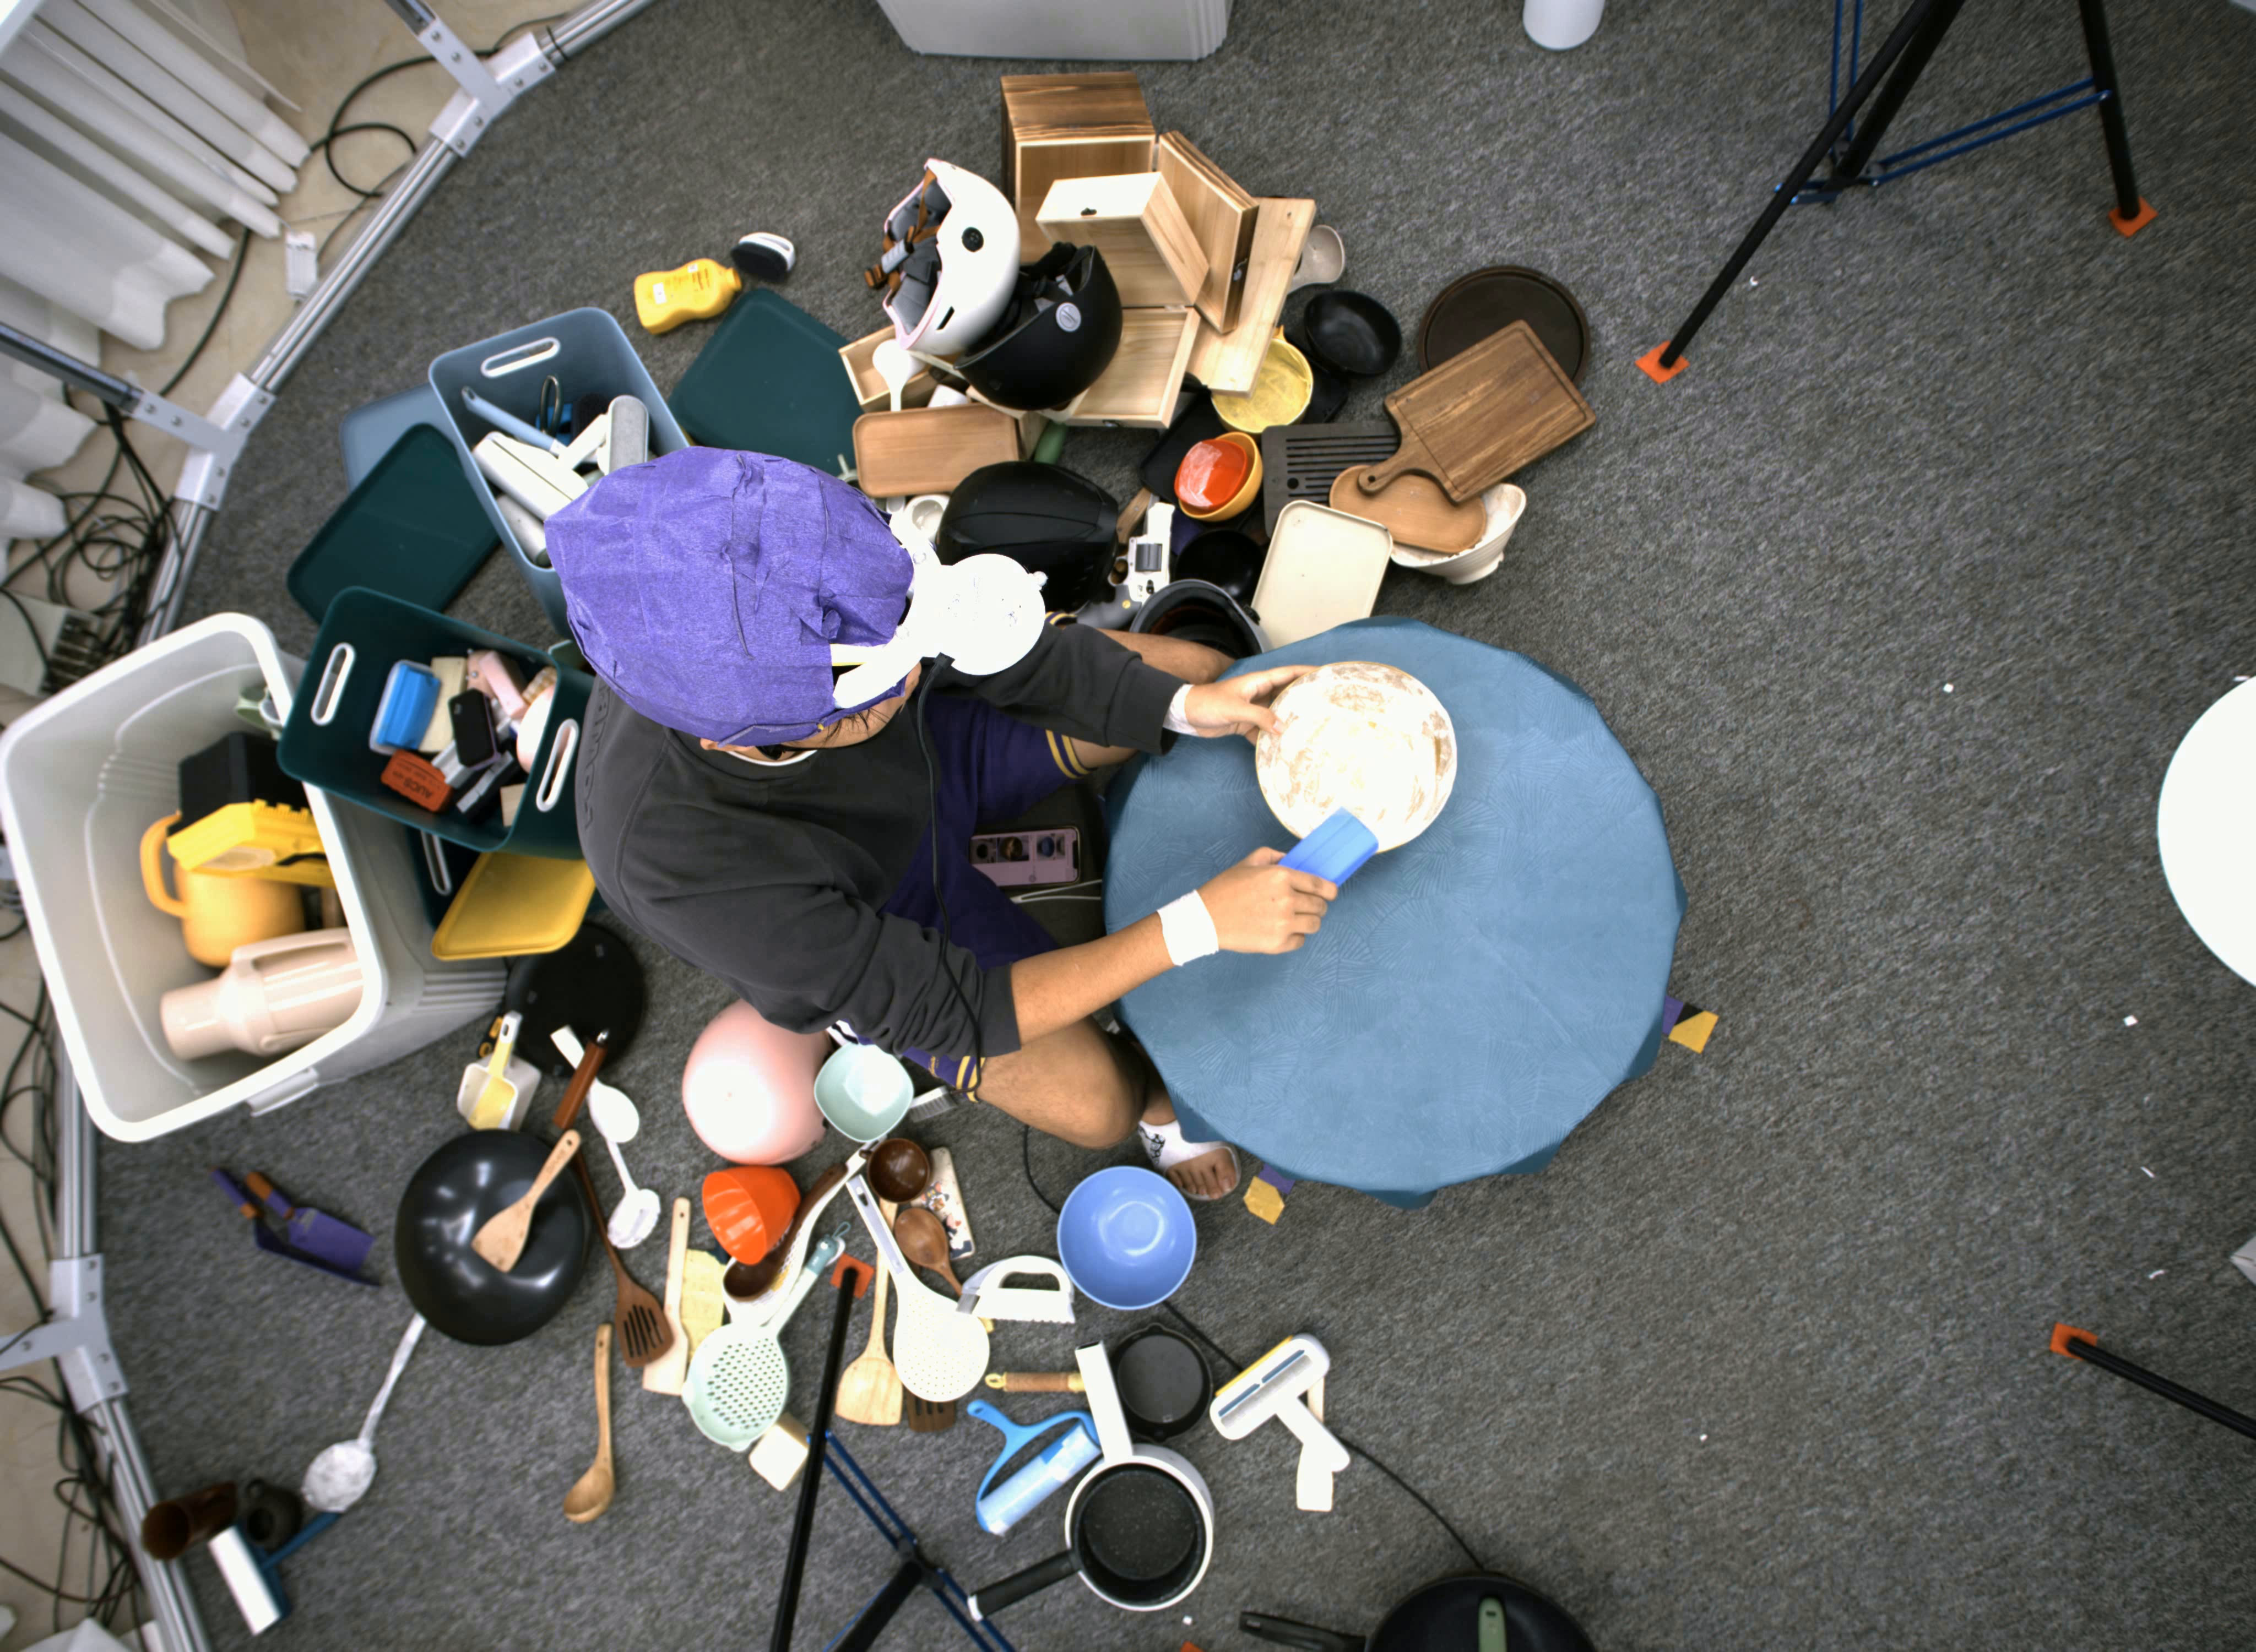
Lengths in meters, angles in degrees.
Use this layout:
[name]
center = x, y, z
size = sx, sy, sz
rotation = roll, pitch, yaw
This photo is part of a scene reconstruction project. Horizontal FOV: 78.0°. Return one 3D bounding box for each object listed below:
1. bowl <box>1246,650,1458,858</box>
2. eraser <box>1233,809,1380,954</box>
[bowl]
center = 0.231, -0.068, 1.427
size = 0.215, 0.094, 0.214
rotation = -1, 88, 10
[eraser]
center = 0.174, 0.054, 1.363
size = 0.163, 0.047, 0.053
rotation = -45, 74, 7
